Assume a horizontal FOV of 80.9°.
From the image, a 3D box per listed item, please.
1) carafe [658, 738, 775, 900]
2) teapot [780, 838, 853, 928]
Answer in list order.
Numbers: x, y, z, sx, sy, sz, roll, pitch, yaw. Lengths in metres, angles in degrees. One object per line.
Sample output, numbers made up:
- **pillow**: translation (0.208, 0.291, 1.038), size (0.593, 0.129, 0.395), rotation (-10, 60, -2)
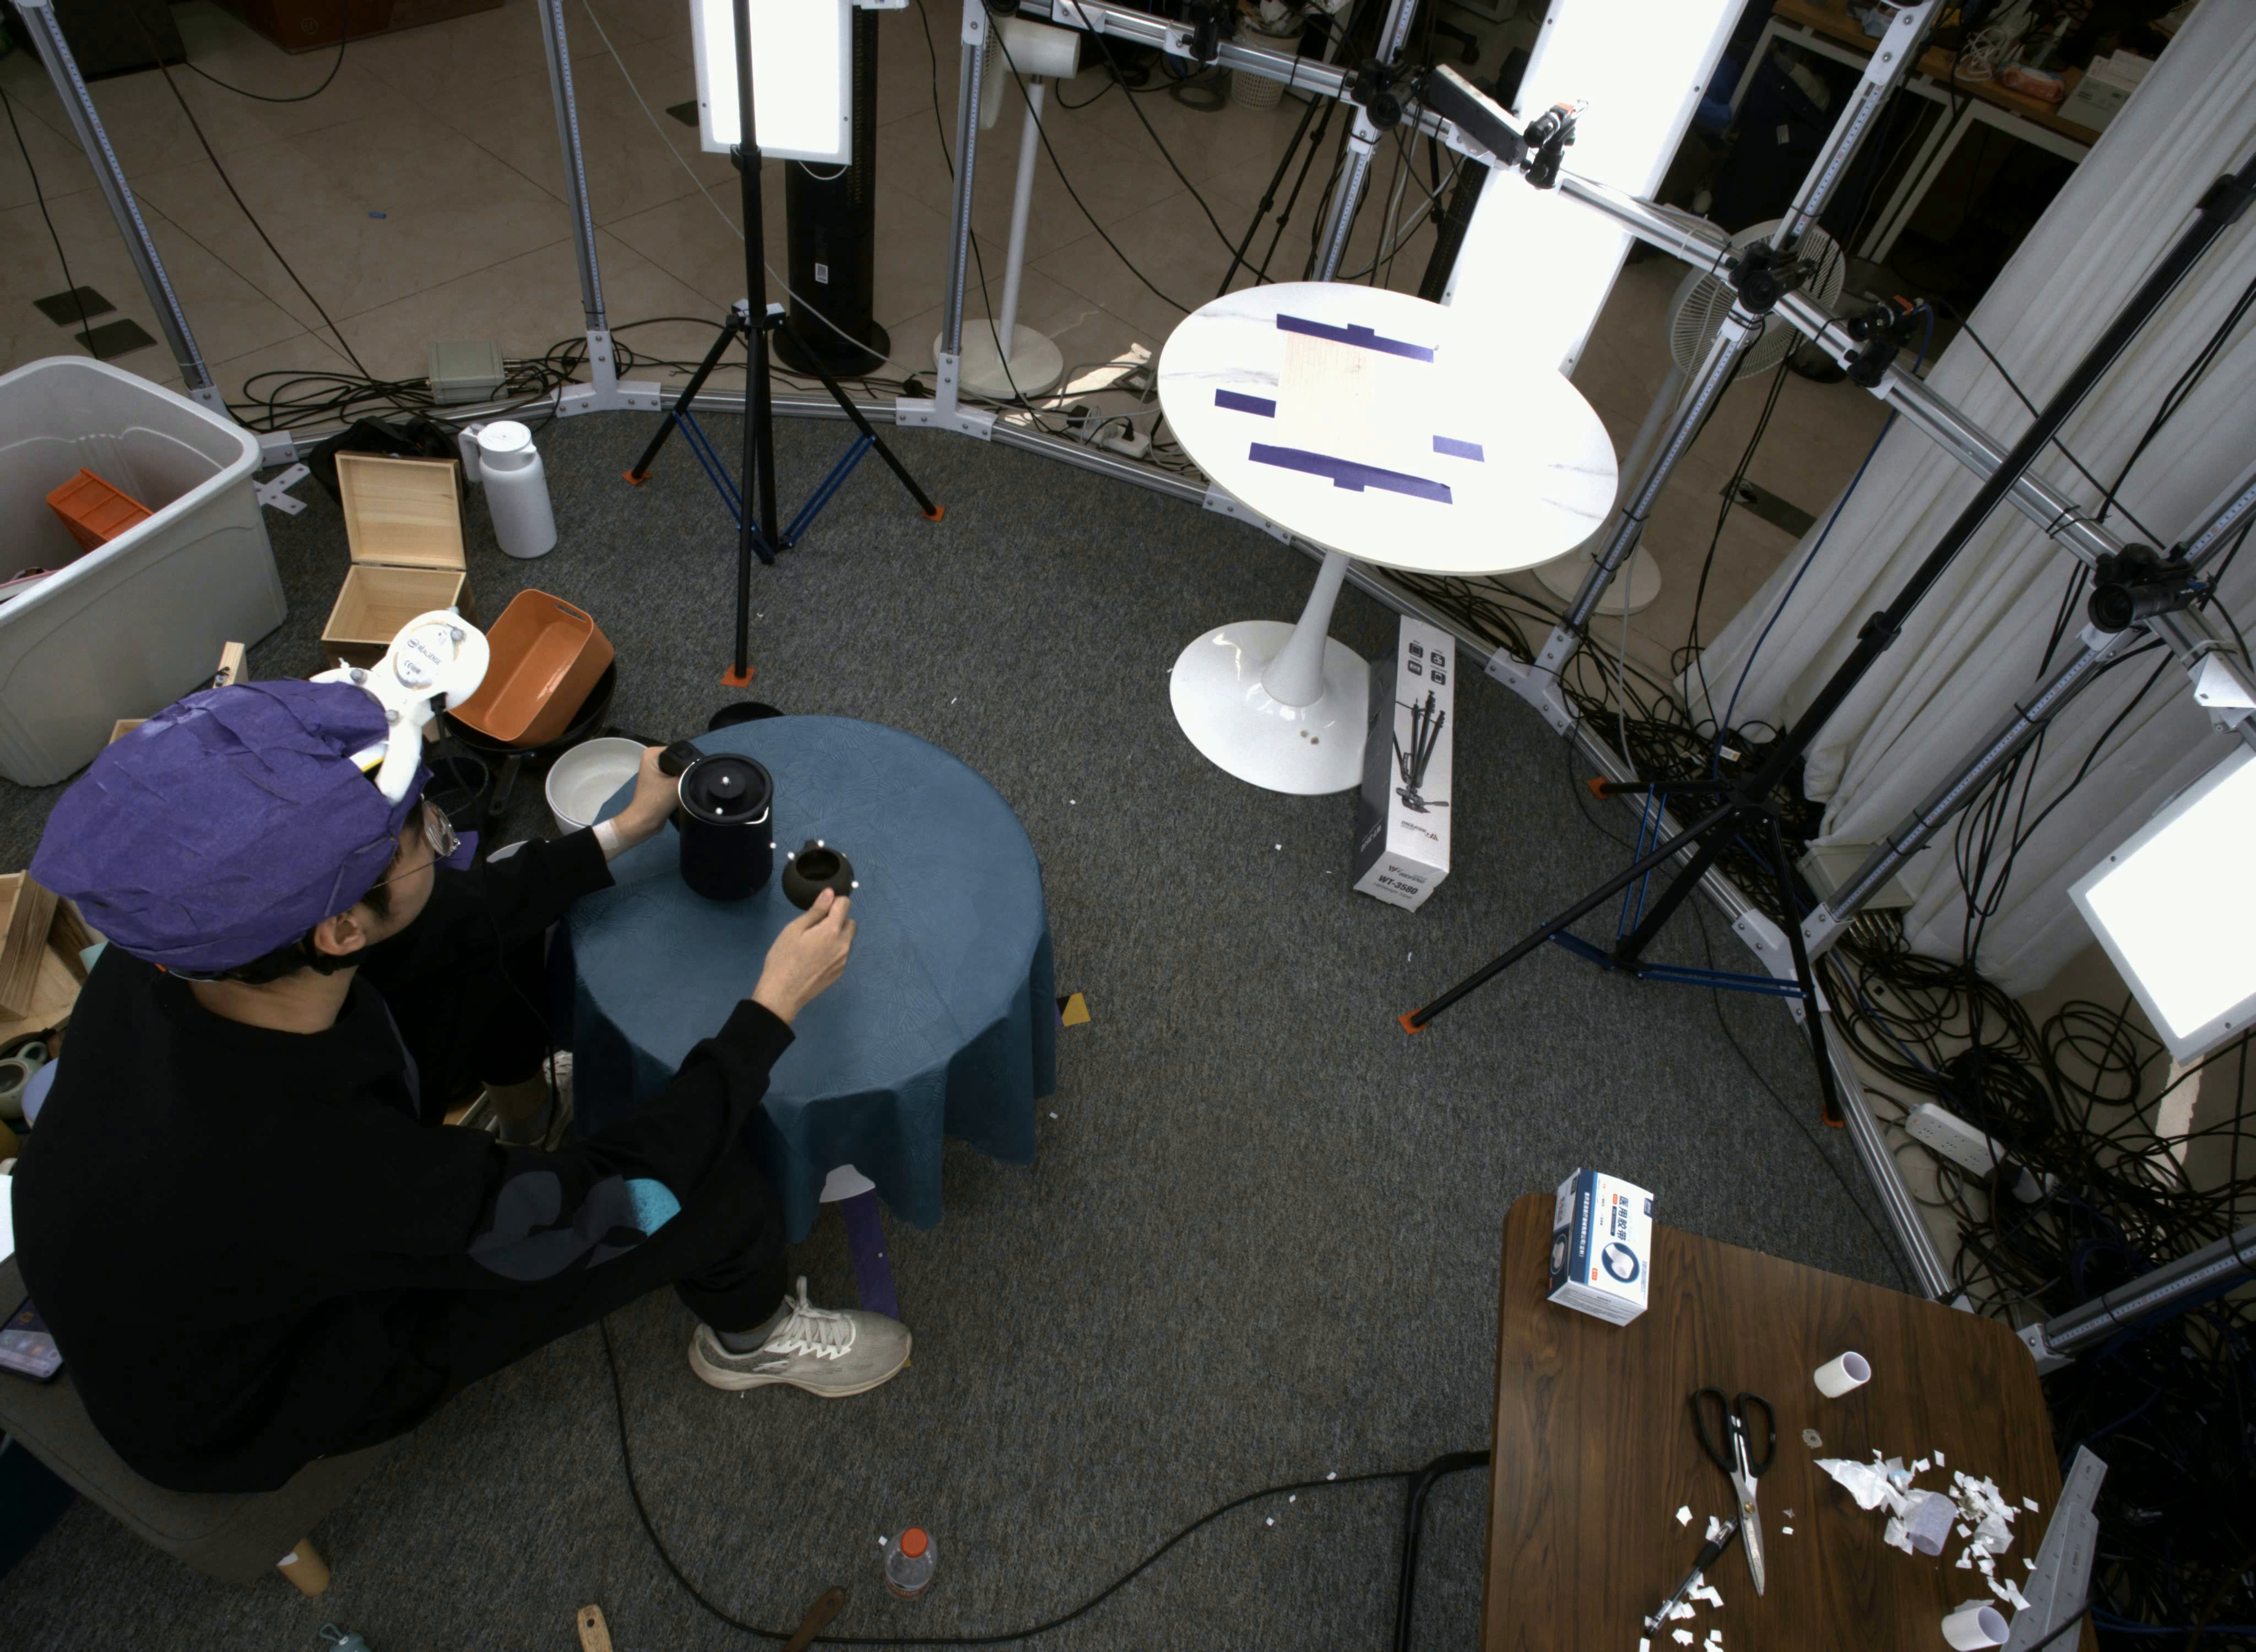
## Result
- **carafe**: translation (-0.506, -0.017, 1.572), size (0.169, 0.176, 0.114), rotation (38, 55, 10)
- **teapot**: translation (-0.358, 0.067, 1.497), size (0.083, 0.054, 0.111), rotation (-7, 48, -17)
